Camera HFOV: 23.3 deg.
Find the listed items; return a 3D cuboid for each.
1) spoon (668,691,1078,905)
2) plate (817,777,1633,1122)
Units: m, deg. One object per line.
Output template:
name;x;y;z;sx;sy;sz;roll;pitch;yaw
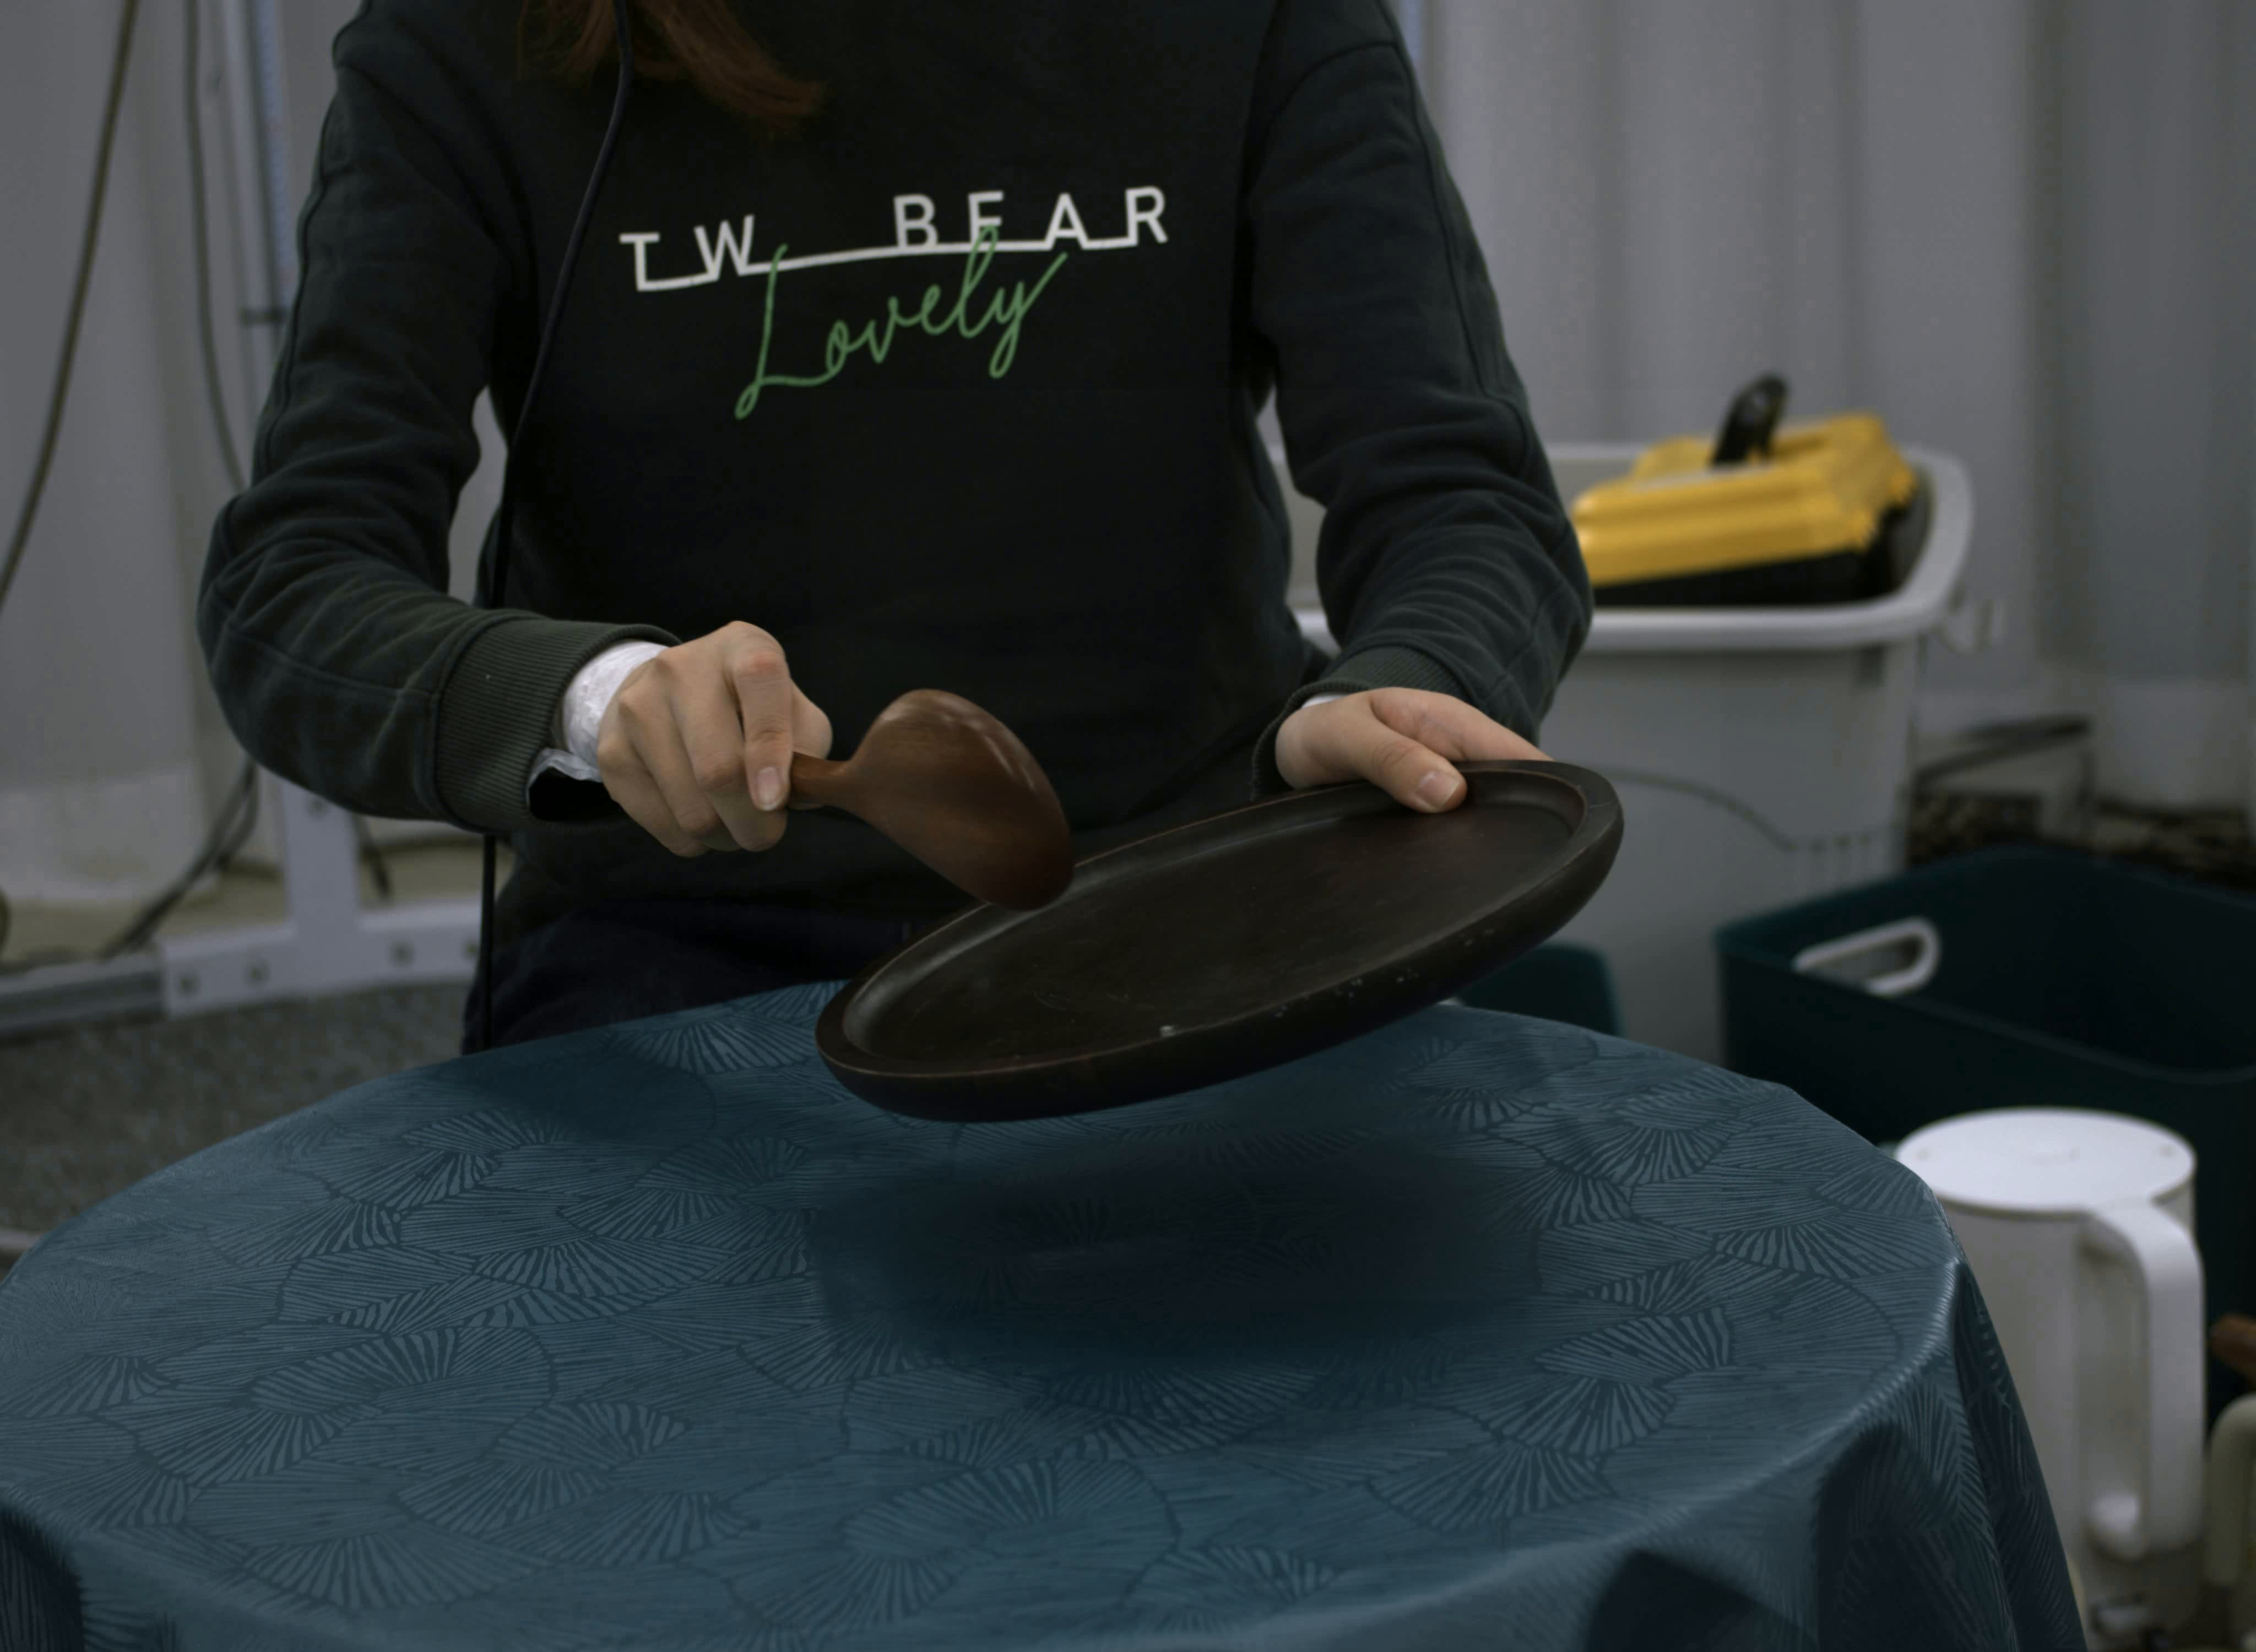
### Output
spoon;-0.083;-0.011;1.667;0.017;0.075;0.217;-36;23;-25
plate;0.030;0.035;1.642;0.254;0.029;0.256;-15;14;3
